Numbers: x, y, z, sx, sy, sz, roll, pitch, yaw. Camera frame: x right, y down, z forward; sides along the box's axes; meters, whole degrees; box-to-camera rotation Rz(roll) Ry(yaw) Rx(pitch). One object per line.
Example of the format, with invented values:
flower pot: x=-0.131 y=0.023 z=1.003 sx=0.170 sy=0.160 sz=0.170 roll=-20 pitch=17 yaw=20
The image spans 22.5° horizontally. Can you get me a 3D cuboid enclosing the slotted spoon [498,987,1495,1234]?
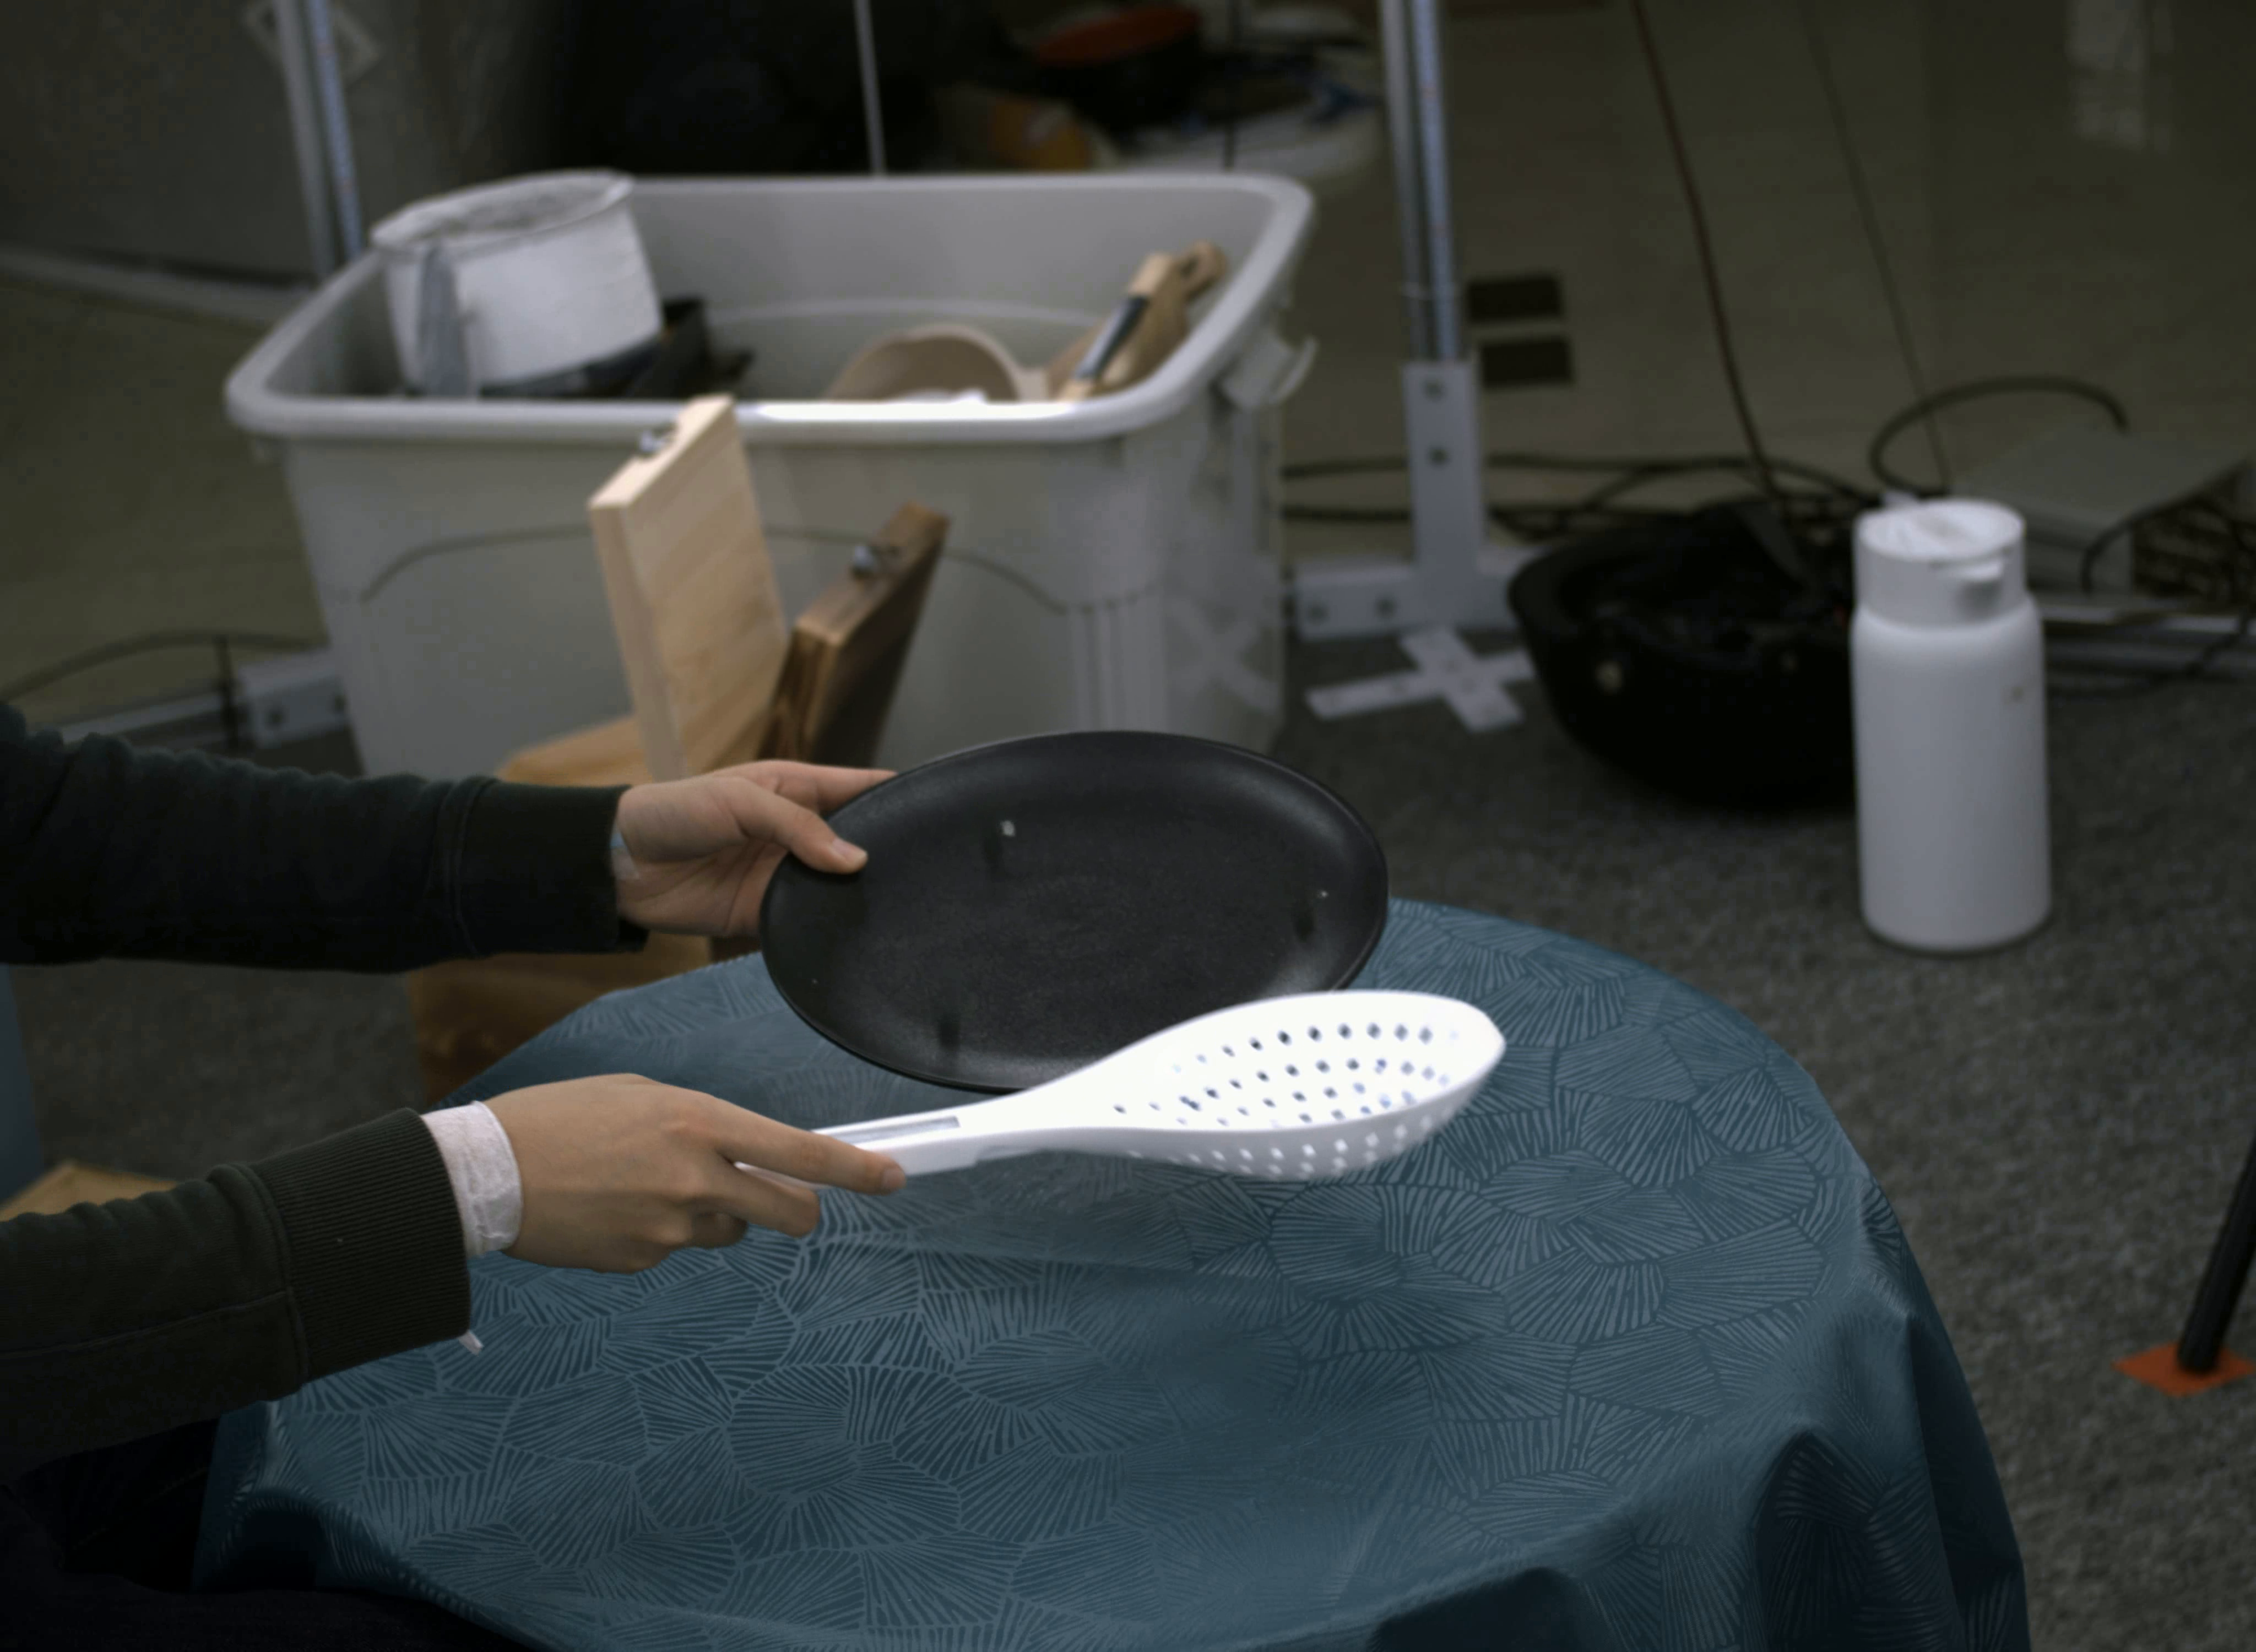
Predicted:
slotted spoon: x=-0.045 y=0.103 z=1.968 sx=0.349 sy=0.046 sz=0.134 roll=-5 pitch=15 yaw=-7

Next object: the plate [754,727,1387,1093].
plate: x=-0.022 y=0.037 z=2.172 sx=0.244 sy=0.024 sz=0.240 roll=-3 pitch=34 yaw=2
